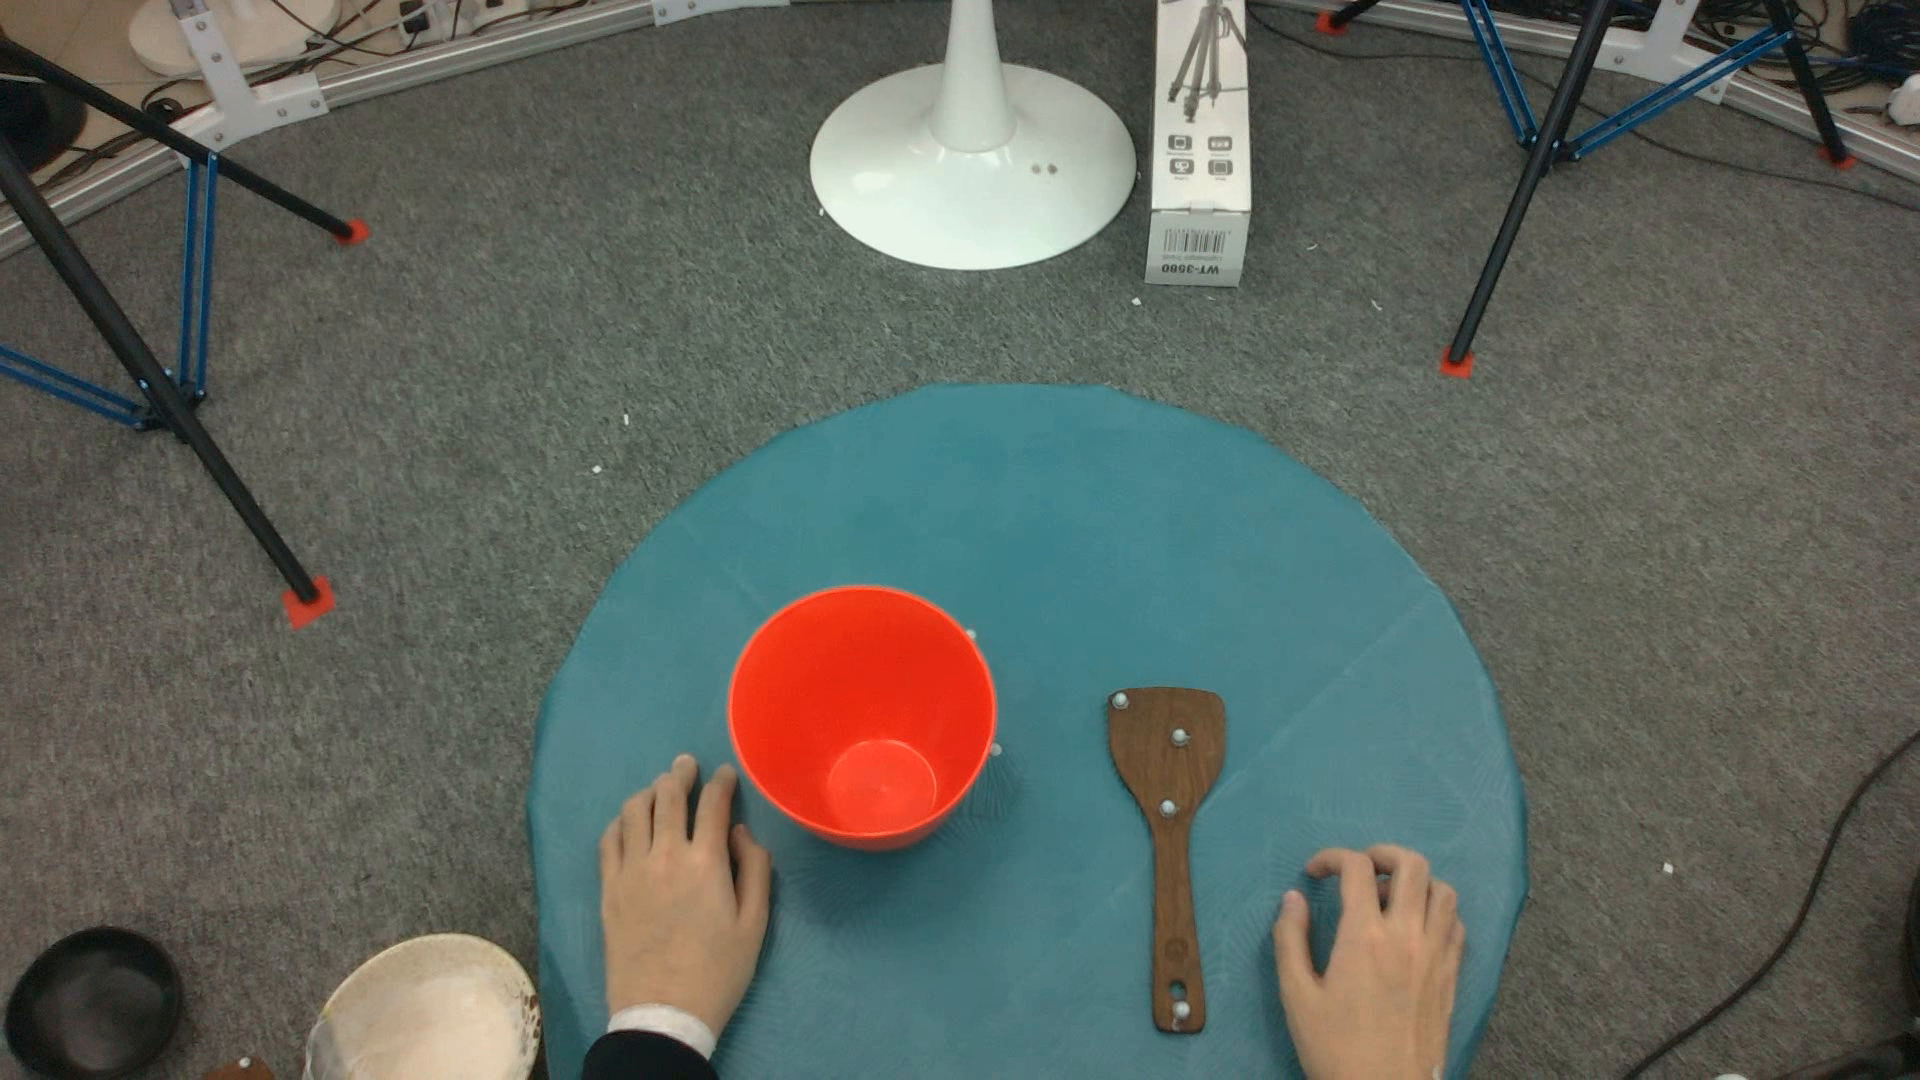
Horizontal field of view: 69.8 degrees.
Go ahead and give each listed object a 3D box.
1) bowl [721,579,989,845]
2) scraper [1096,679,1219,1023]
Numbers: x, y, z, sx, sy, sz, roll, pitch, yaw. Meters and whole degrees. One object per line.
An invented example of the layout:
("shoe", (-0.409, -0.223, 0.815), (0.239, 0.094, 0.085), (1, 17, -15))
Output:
("bowl", (-0.058, 0.111, 0.791), (0.148, 0.104, 0.148), (2, 53, -2))
("scraper", (0.118, 0.174, 0.801), (0.076, 0.011, 0.212), (2, 53, 2))
